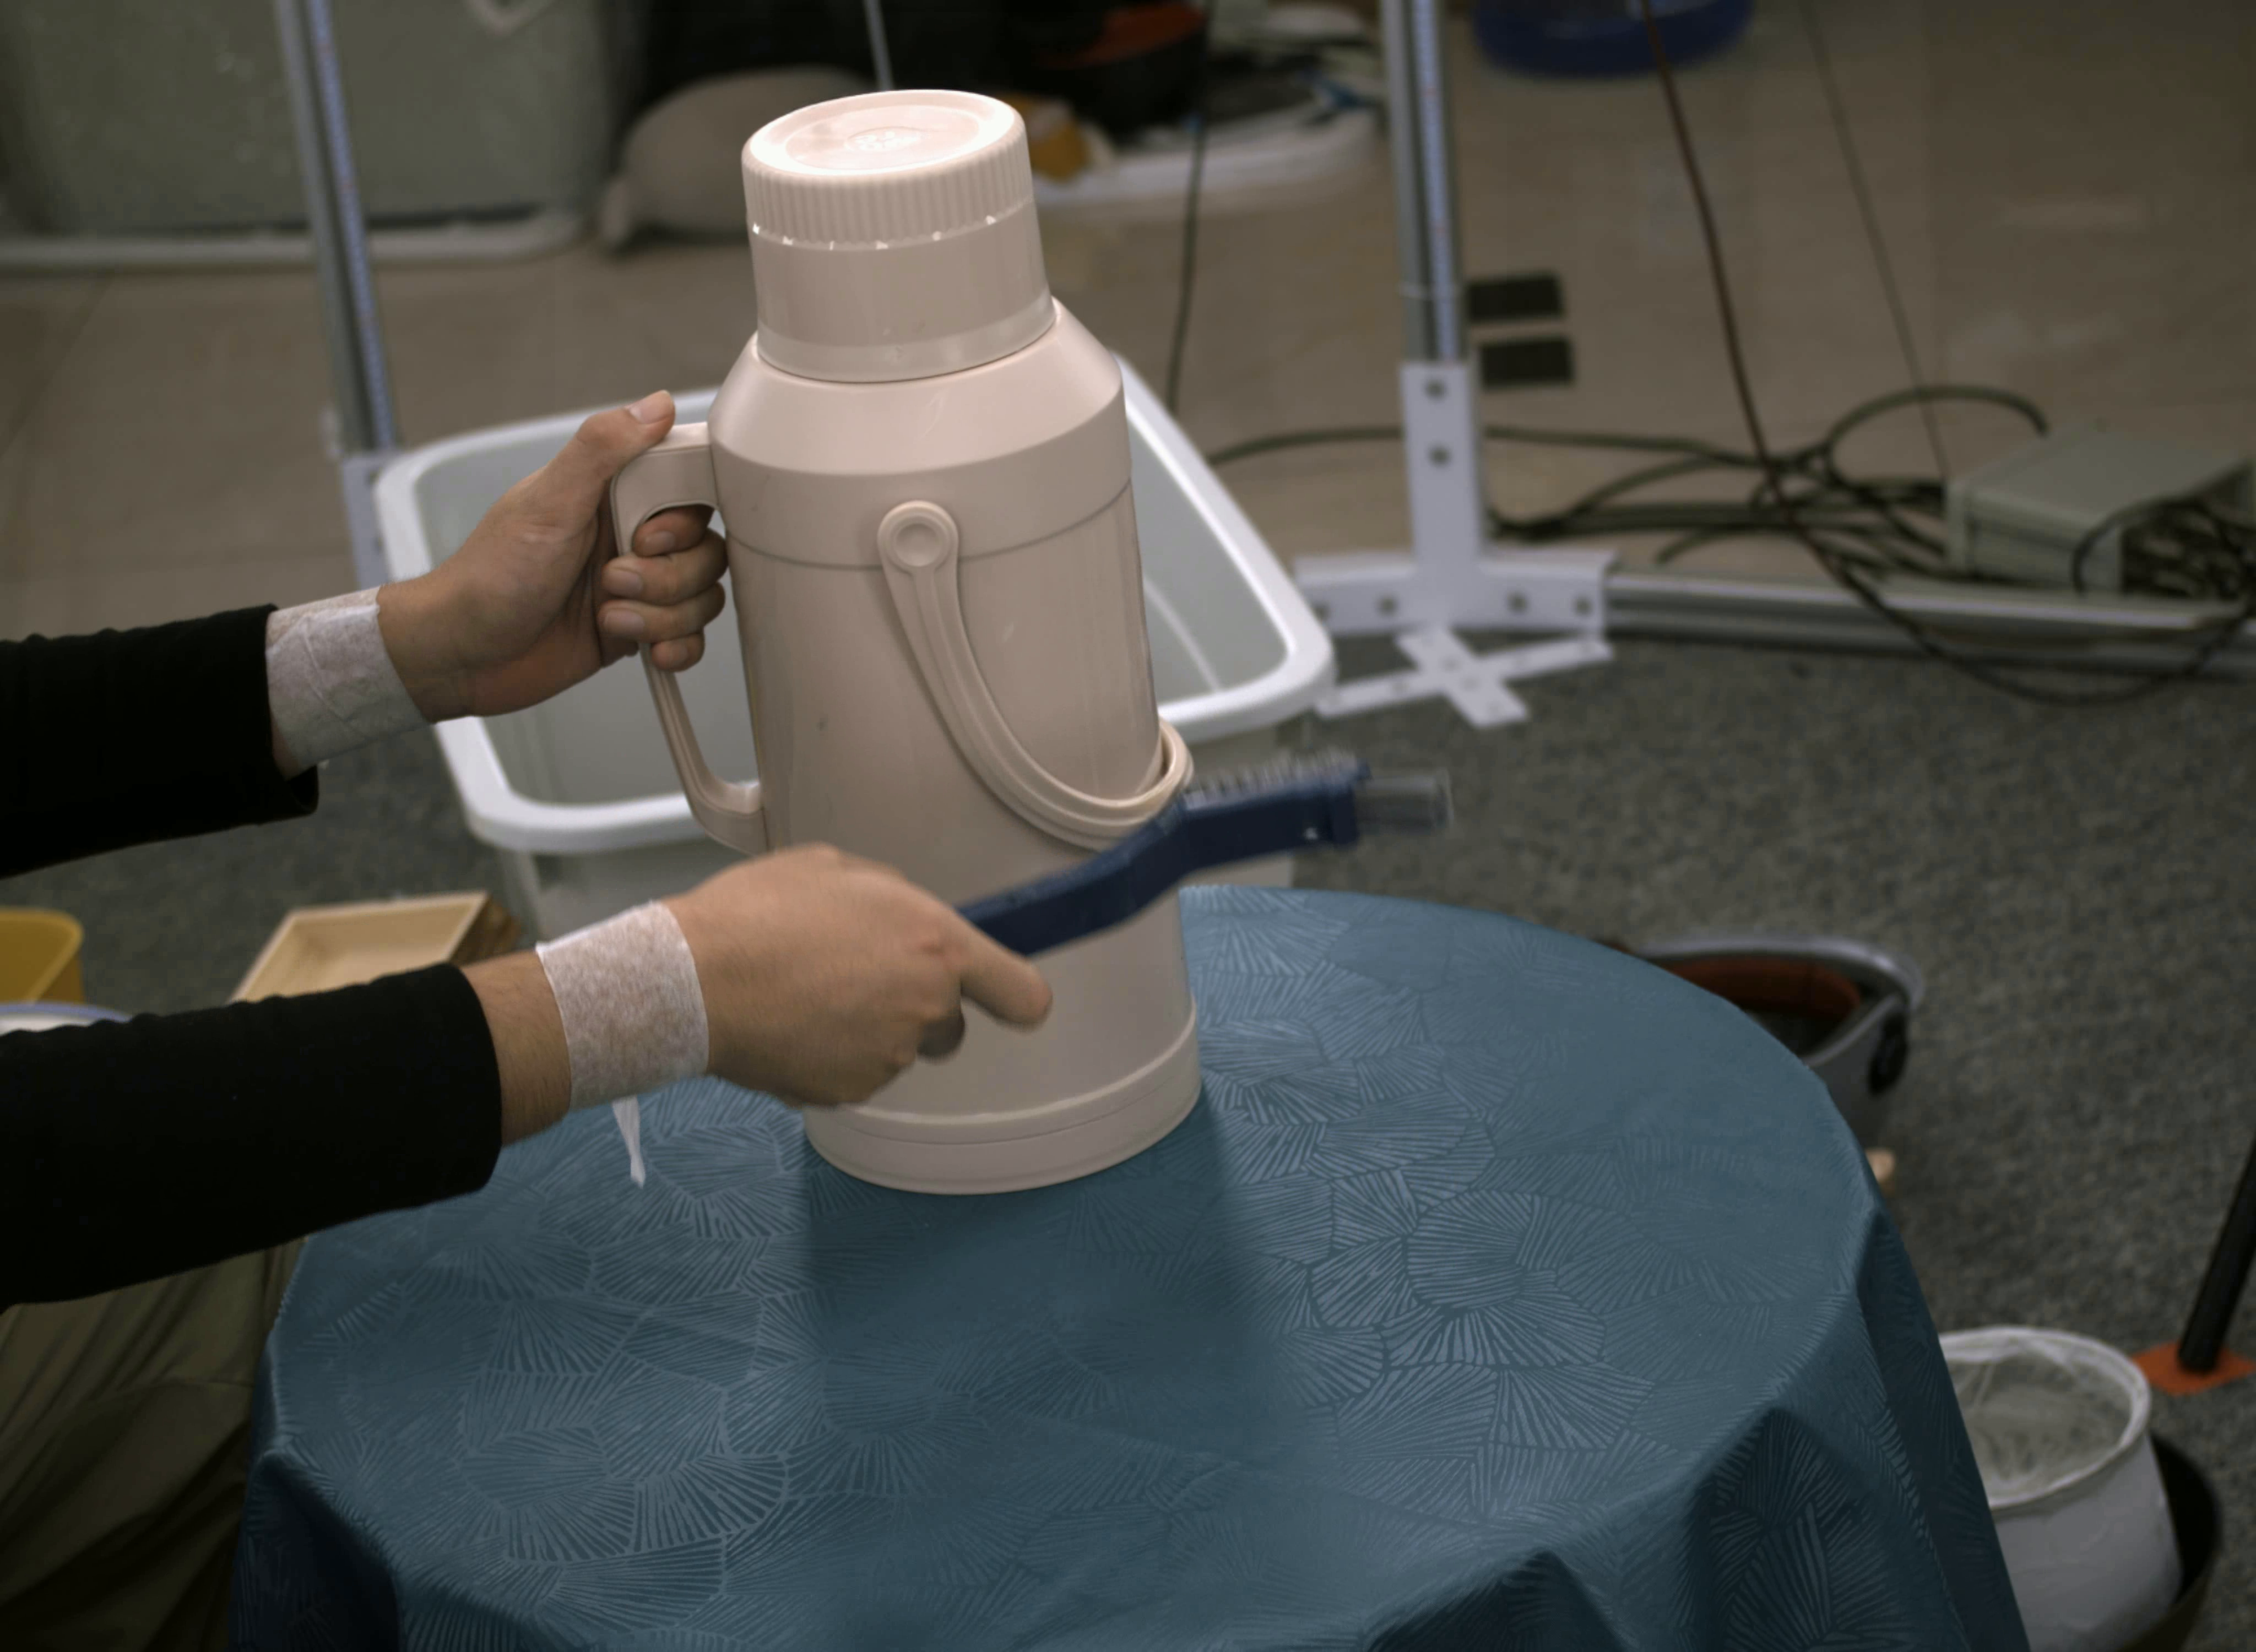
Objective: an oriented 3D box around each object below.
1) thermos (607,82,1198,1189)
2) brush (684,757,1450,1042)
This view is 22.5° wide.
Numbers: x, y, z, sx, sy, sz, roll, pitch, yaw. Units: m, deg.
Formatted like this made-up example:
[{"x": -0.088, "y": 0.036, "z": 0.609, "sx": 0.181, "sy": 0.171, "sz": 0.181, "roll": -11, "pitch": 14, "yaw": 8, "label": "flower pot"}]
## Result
[{"x": -0.084, "y": -0.072, "z": 2.143, "sx": 0.207, "sy": 0.413, "sz": 0.172, "roll": -6, "pitch": 27, "yaw": 1, "label": "thermos"}, {"x": -0.022, "y": 0.024, "z": 1.975, "sx": 0.271, "sy": 0.034, "sz": 0.095, "roll": -23, "pitch": 31, "yaw": -27, "label": "brush"}]
